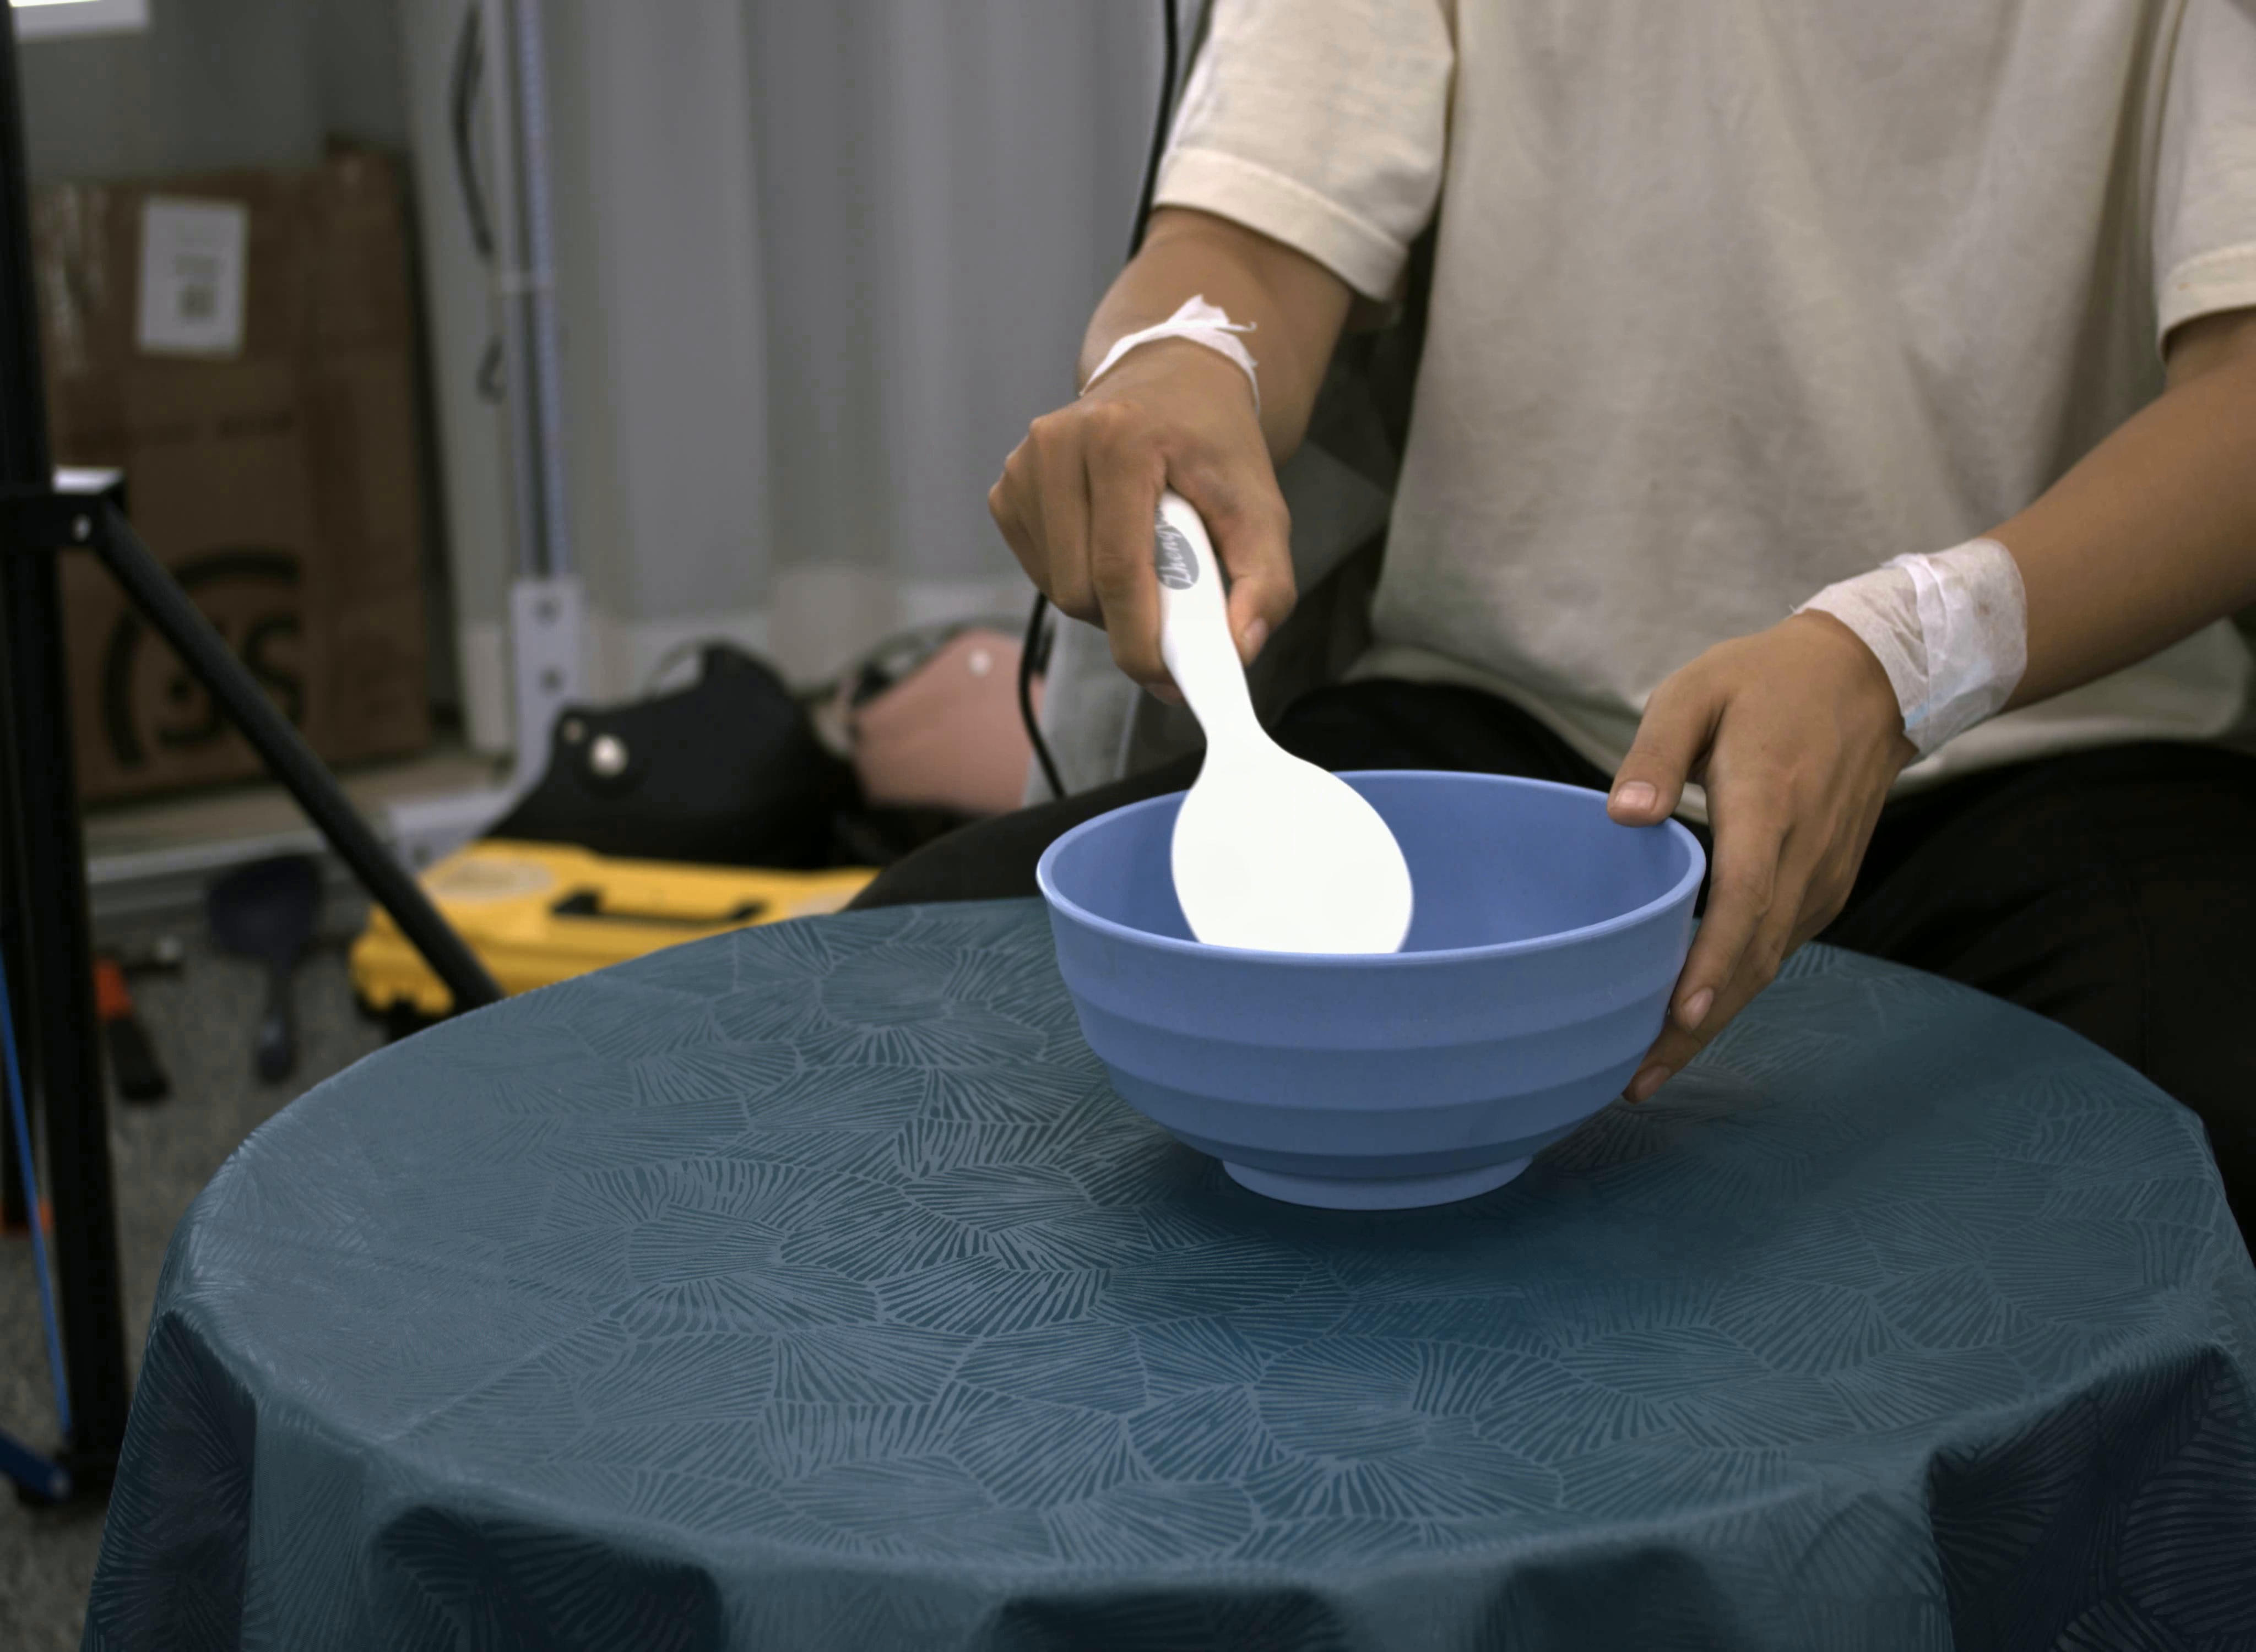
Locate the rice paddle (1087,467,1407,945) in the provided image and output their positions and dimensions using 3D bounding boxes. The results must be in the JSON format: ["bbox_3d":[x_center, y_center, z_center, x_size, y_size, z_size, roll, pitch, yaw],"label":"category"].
[{"bbox_3d":[0.031,-0.030,1.615,0.068,0.029,0.209,-16,49,-6],"label":"rice paddle"}]

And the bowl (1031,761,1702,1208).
[{"bbox_3d":[0.072,0.052,1.562,0.195,0.095,0.197,-4,17,0],"label":"bowl"}]
